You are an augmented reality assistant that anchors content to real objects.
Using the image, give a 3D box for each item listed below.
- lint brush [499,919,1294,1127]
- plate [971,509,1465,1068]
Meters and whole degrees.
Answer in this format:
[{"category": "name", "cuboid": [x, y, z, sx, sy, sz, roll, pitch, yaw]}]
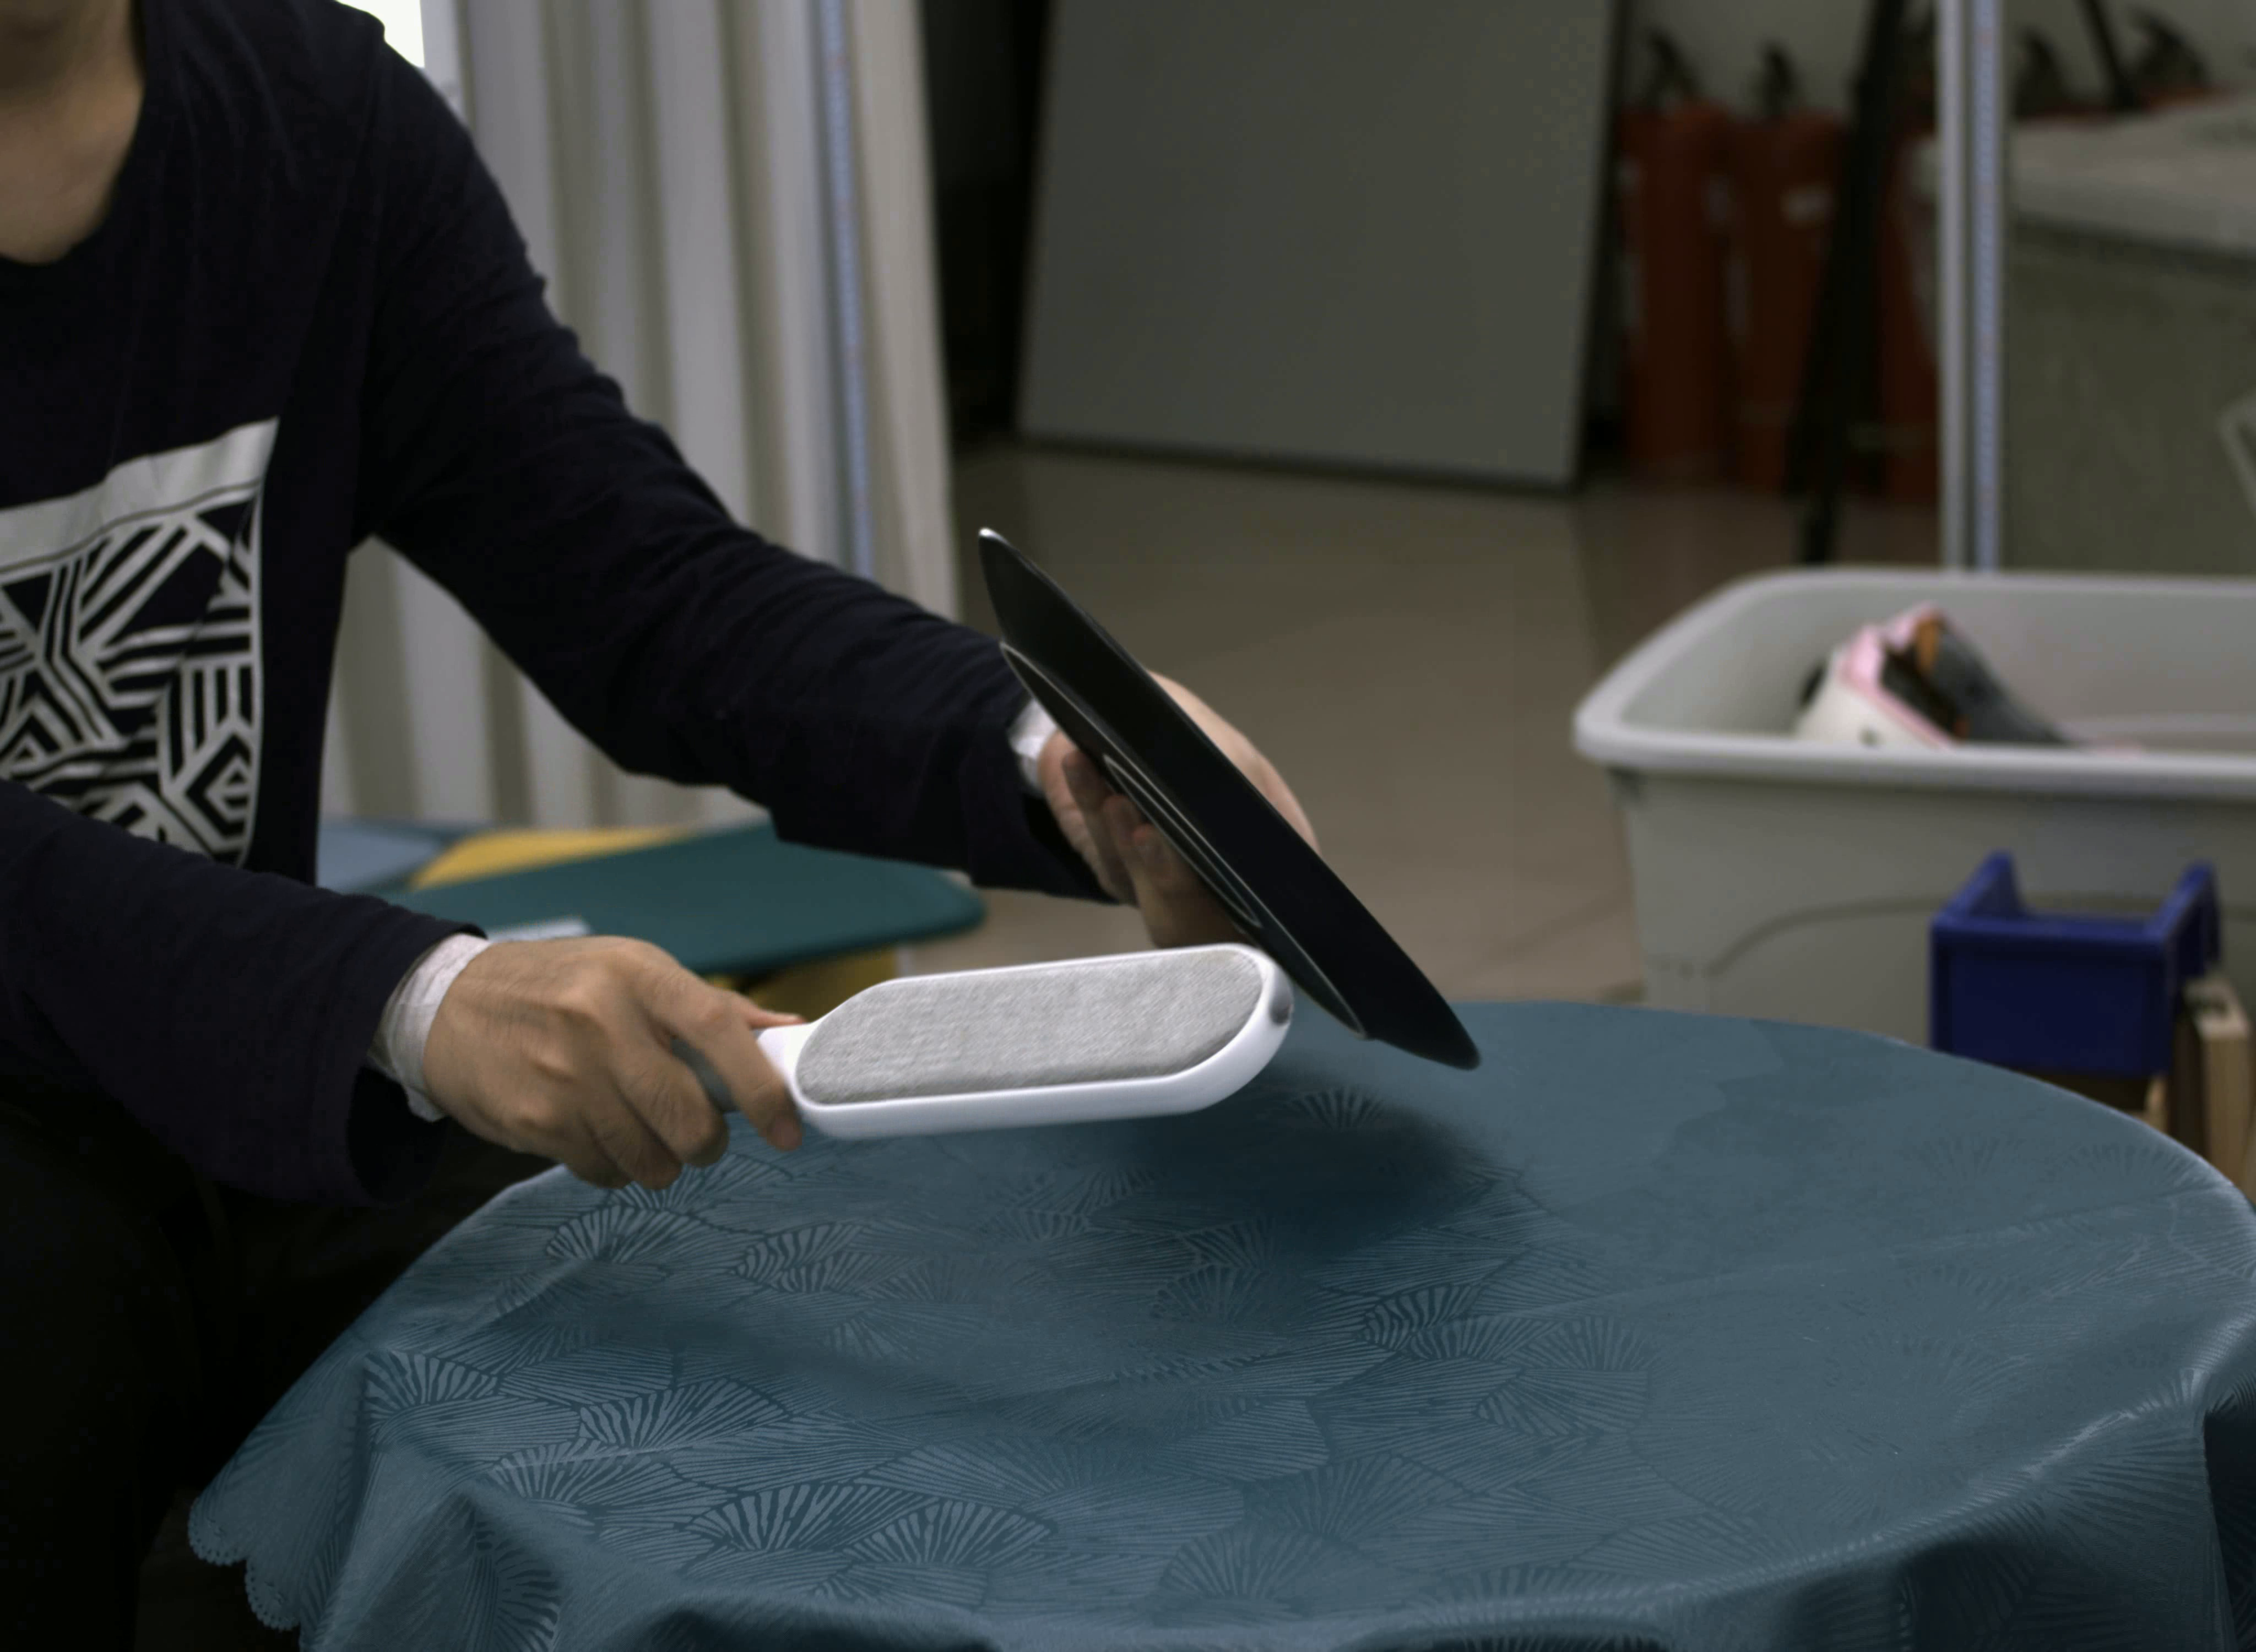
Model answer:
[{"category": "lint brush", "cuboid": [-0.077, 0.065, 1.642, 0.311, 0.021, 0.060, -8, 46, 38]}, {"category": "plate", "cuboid": [0.023, -0.006, 1.777, 0.023, 0.243, 0.246, -41, 19, -4]}]
